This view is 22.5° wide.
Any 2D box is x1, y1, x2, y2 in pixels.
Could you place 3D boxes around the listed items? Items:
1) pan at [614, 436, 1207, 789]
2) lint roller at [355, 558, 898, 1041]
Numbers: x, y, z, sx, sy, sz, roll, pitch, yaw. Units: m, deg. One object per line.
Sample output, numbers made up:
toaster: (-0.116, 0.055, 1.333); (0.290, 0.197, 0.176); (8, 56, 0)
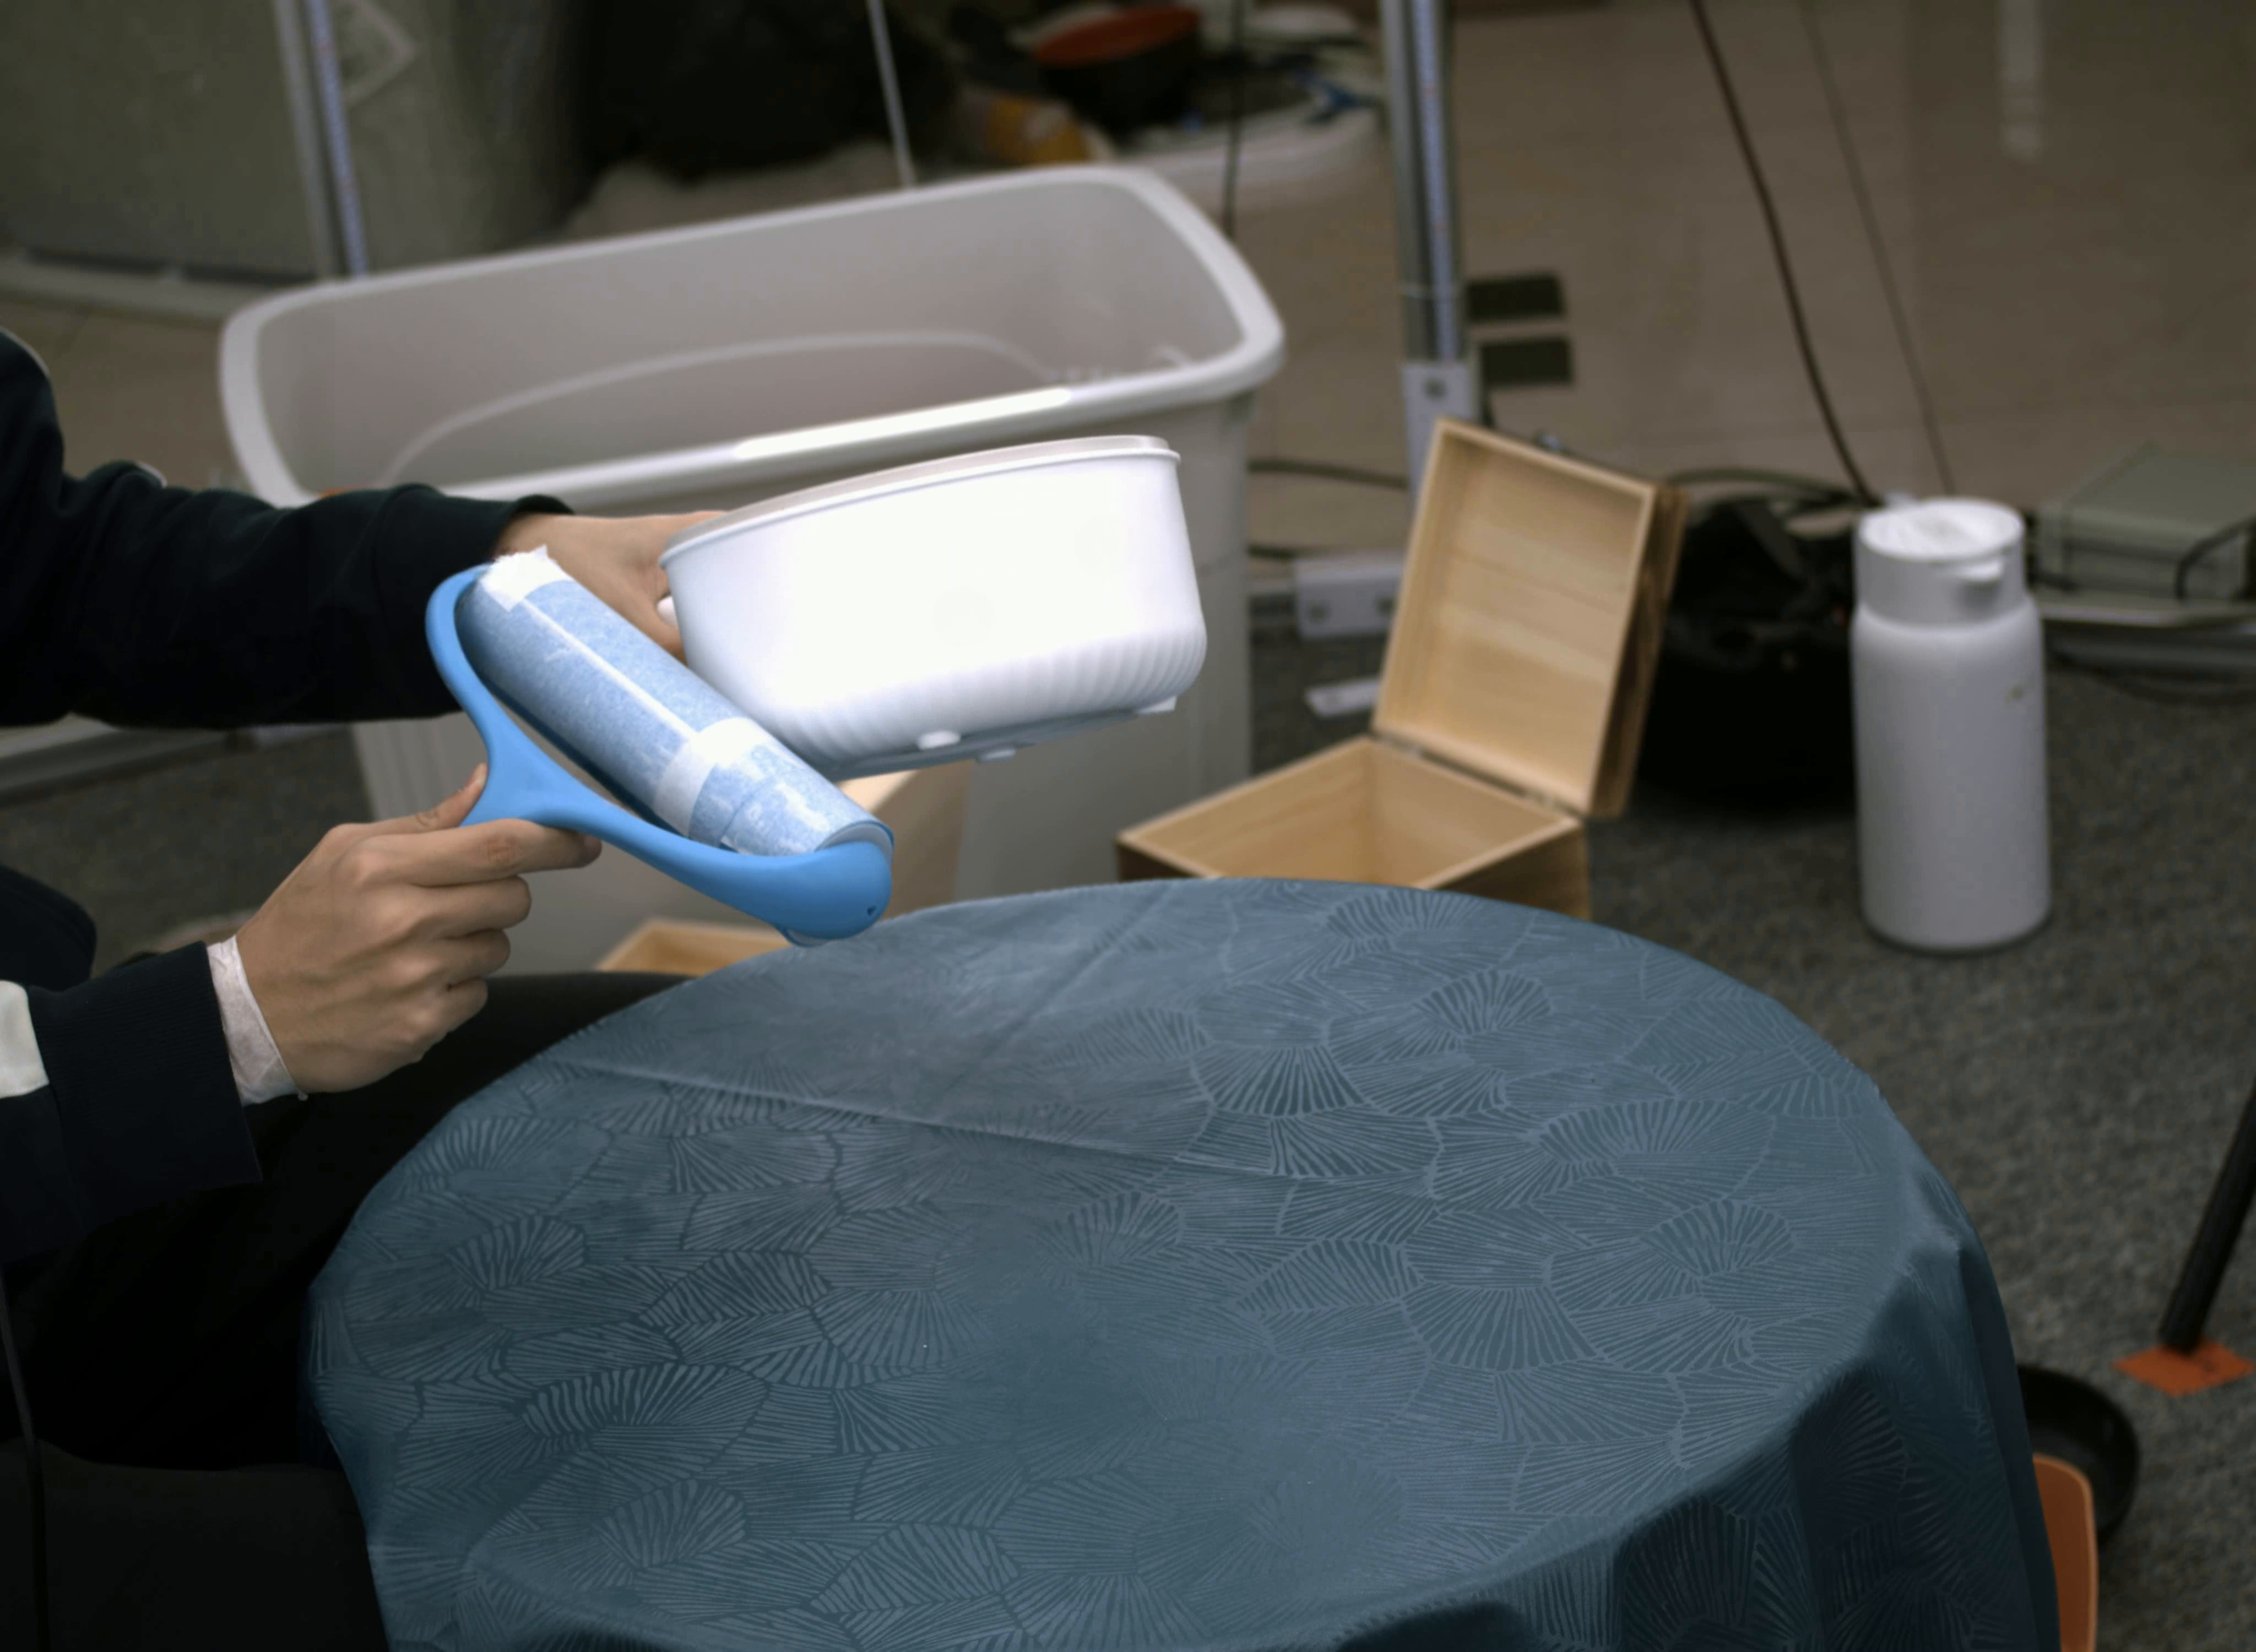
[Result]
pan: (-0.115, -0.062, 2.191); (0.200, 0.102, 0.356); (-11, -3, -38)
lint roller: (-0.209, 0.005, 2.043); (0.226, 0.069, 0.178); (36, 63, 28)
